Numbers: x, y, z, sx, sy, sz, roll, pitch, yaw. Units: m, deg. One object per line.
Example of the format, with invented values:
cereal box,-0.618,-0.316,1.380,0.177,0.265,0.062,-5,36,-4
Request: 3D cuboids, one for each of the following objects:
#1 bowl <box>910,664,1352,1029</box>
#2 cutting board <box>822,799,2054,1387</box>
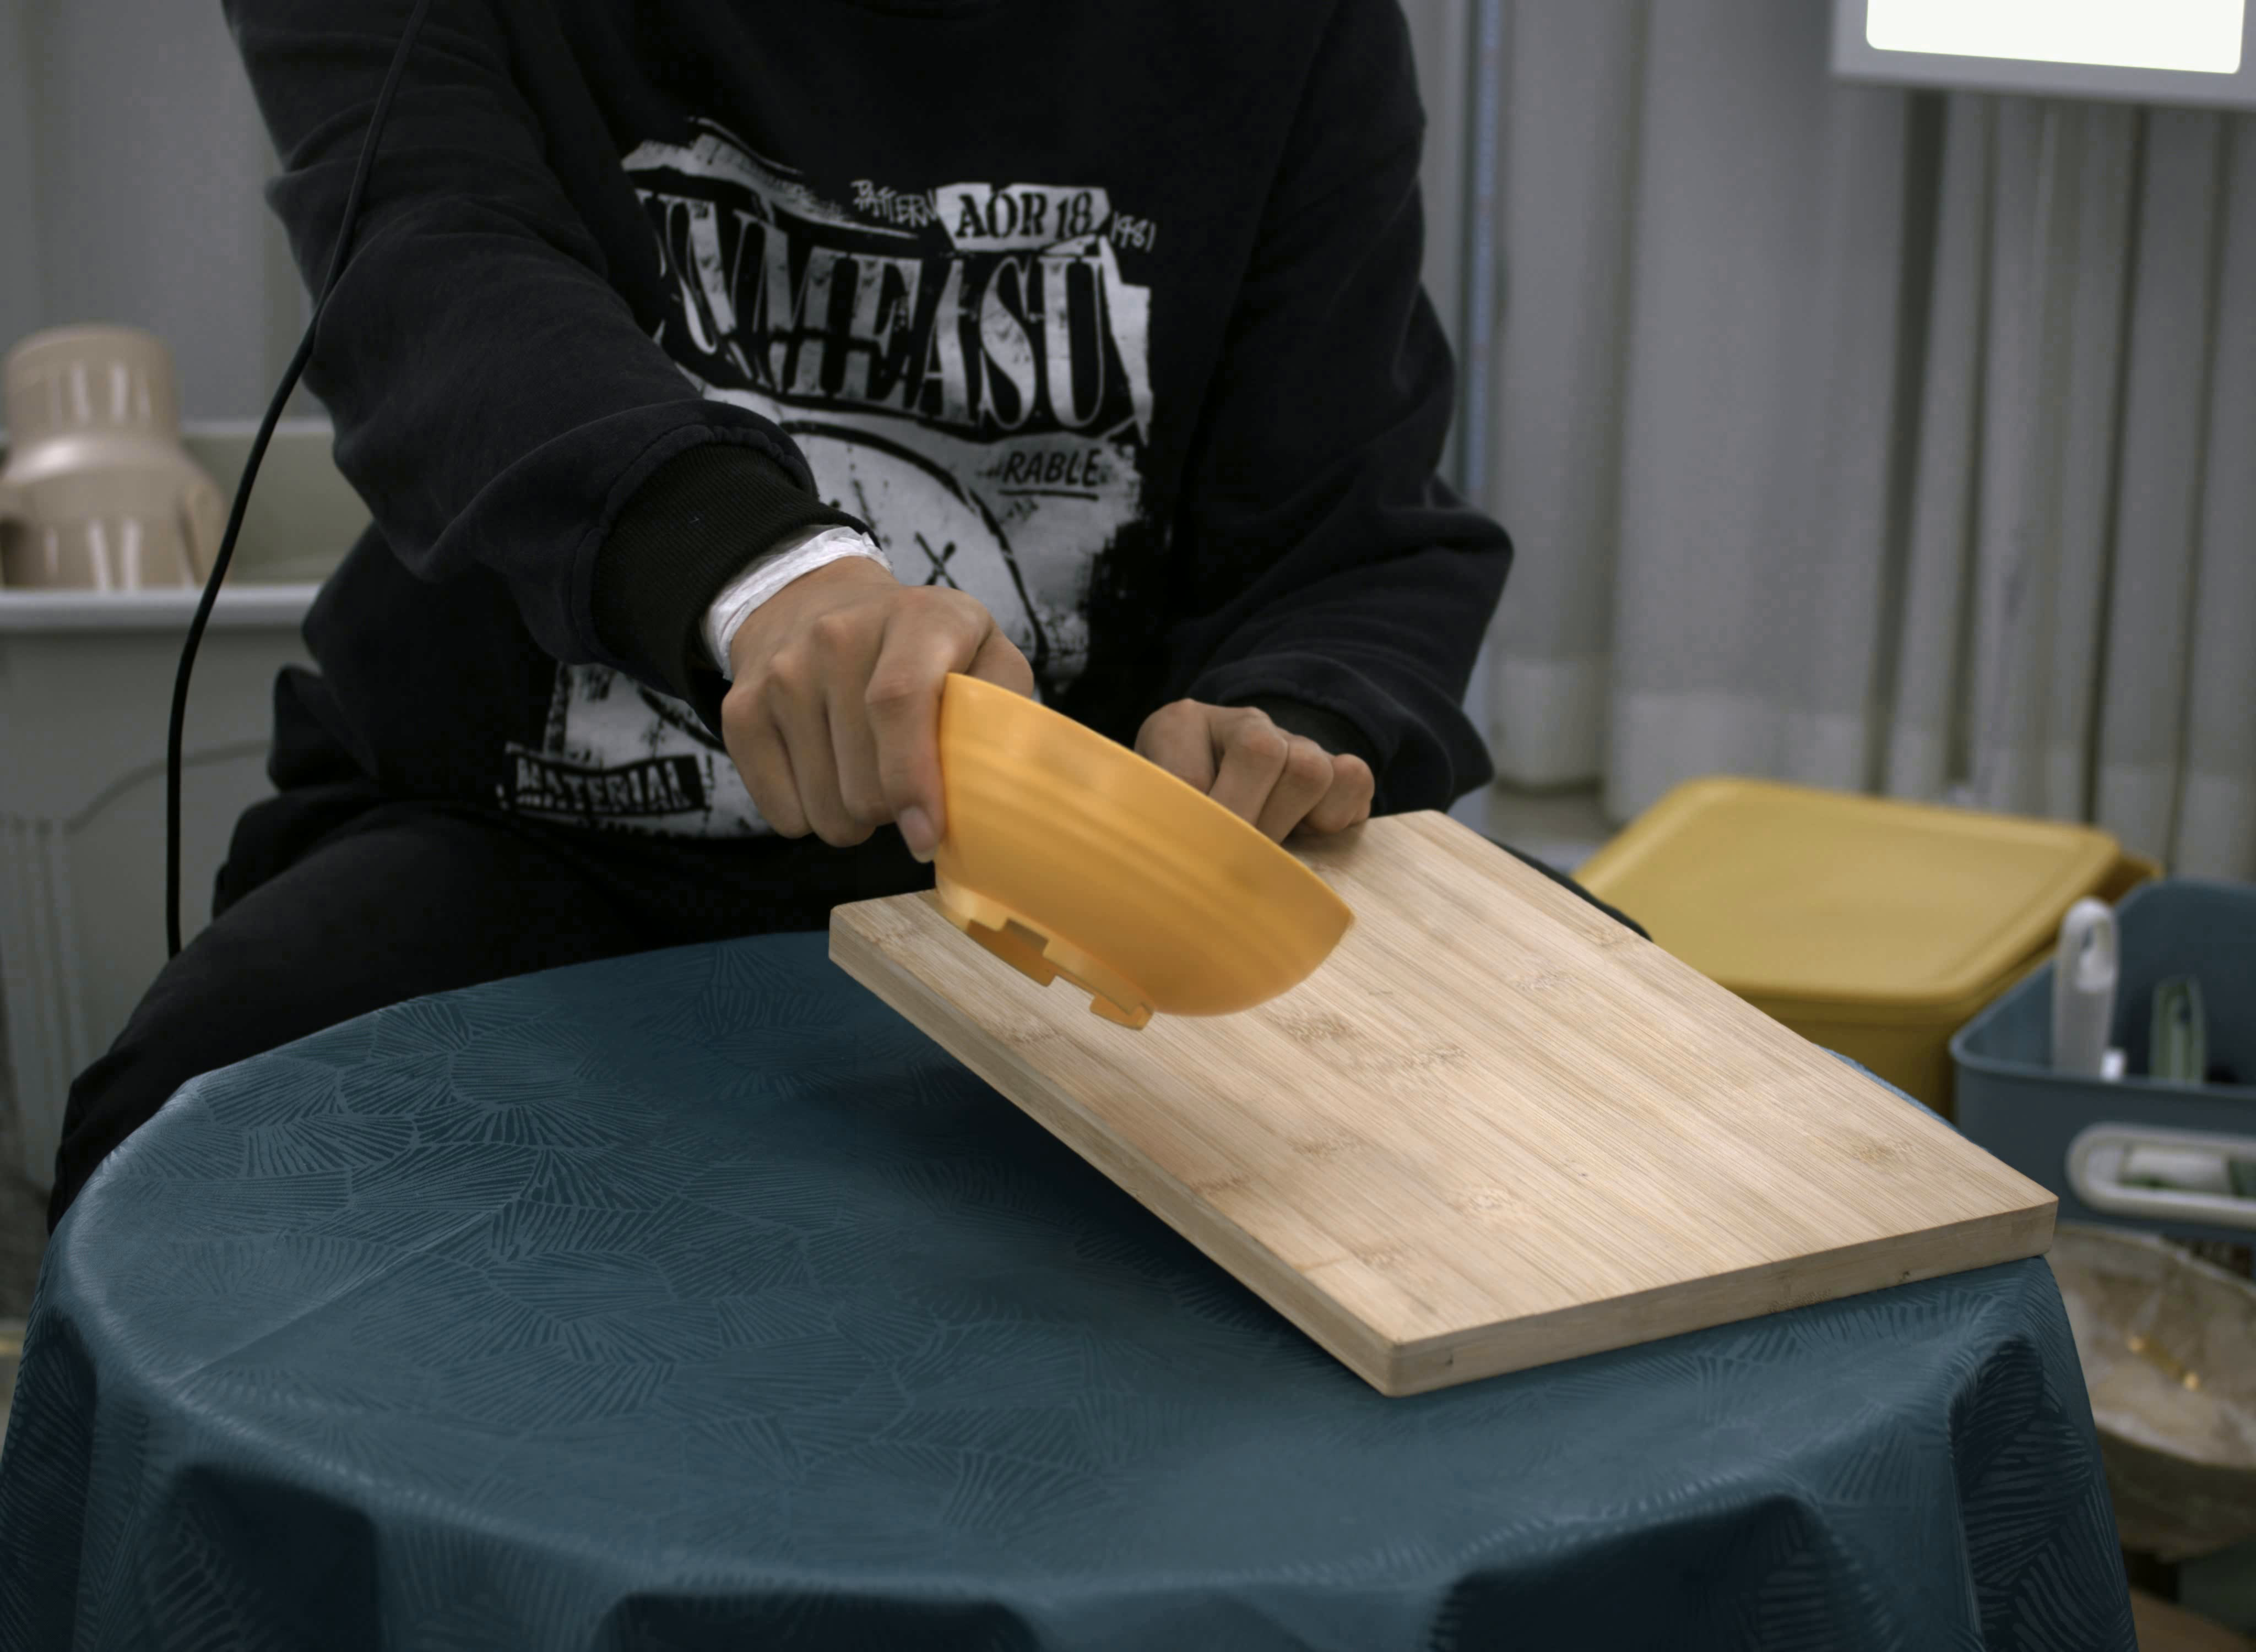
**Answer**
bowl,-0.011,0.017,1.524,0.145,0.060,0.146,31,-9,6
cutting board,0.088,0.075,1.655,0.252,0.024,0.344,-9,26,-31
